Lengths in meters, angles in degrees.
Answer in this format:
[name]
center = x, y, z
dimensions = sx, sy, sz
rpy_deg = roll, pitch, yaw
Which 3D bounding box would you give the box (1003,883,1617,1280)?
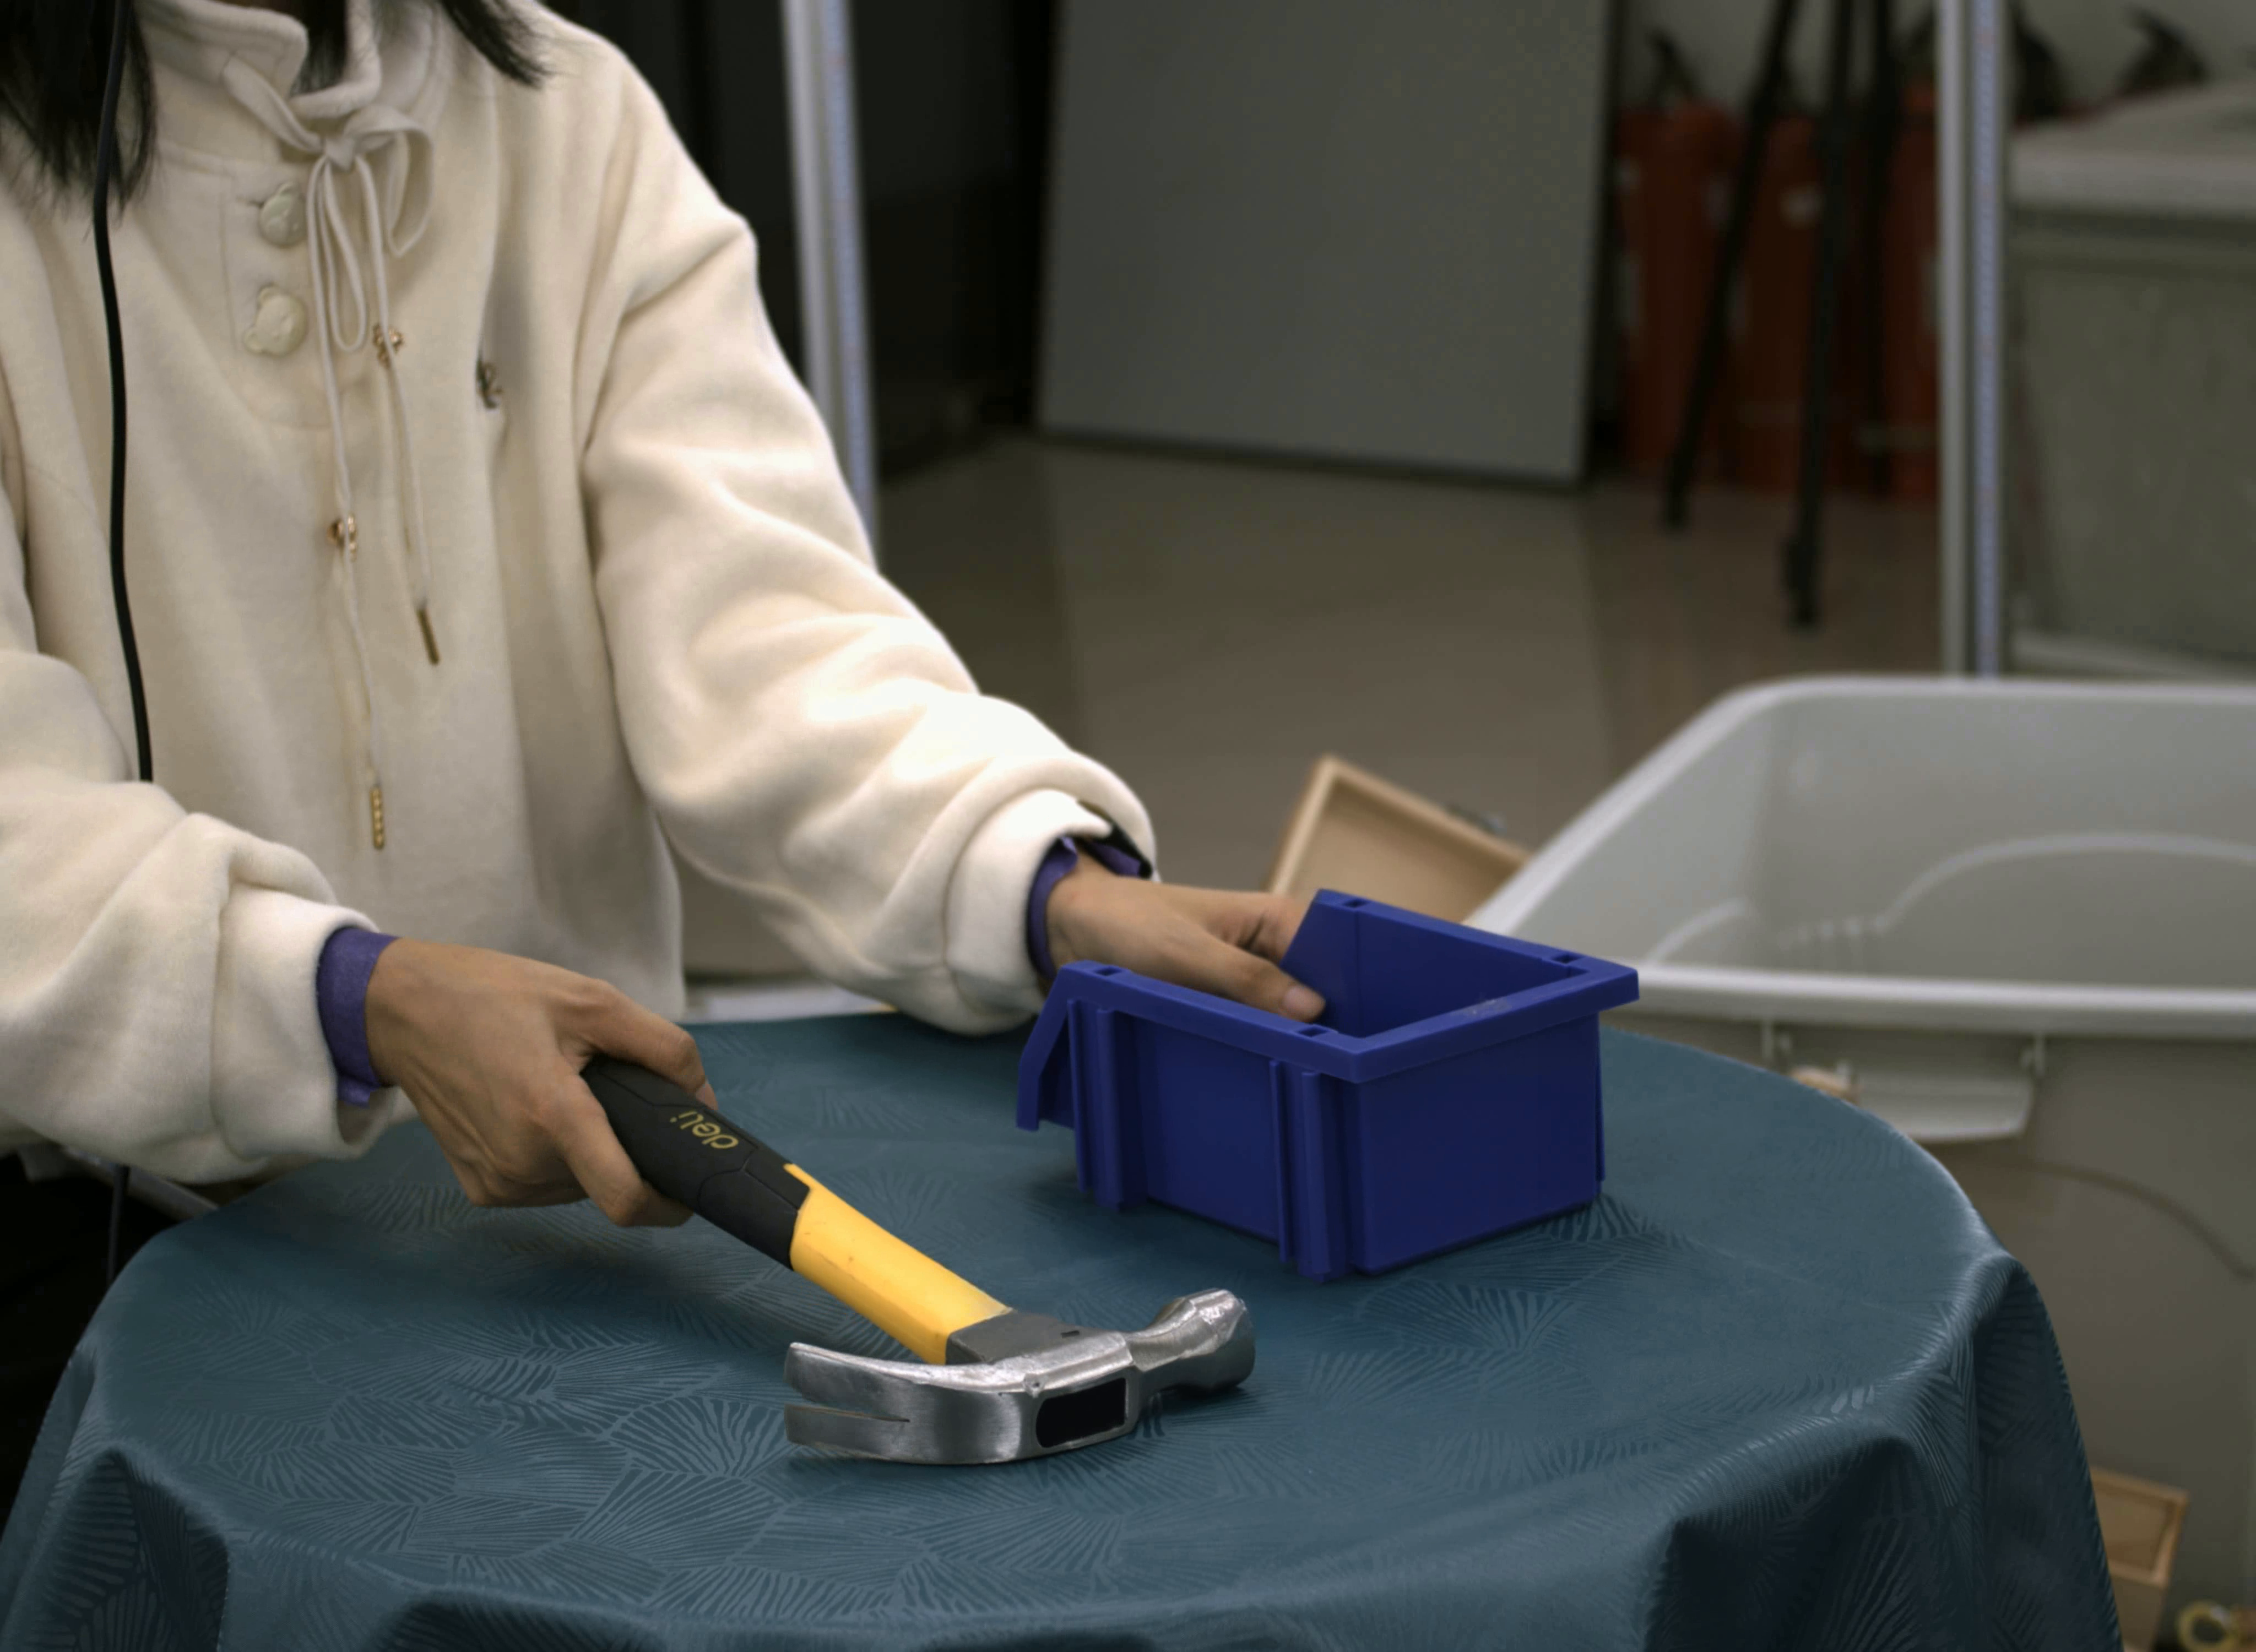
[box]
center = 0.055, 0.080, 1.752
dimensions = 0.122, 0.083, 0.181
rpy_deg = -14, 19, -34

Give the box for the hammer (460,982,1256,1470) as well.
[hammer]
center = -0.110, 0.115, 1.663
dimensions = 0.128, 0.032, 0.342
rpy_deg = -16, 26, -32
